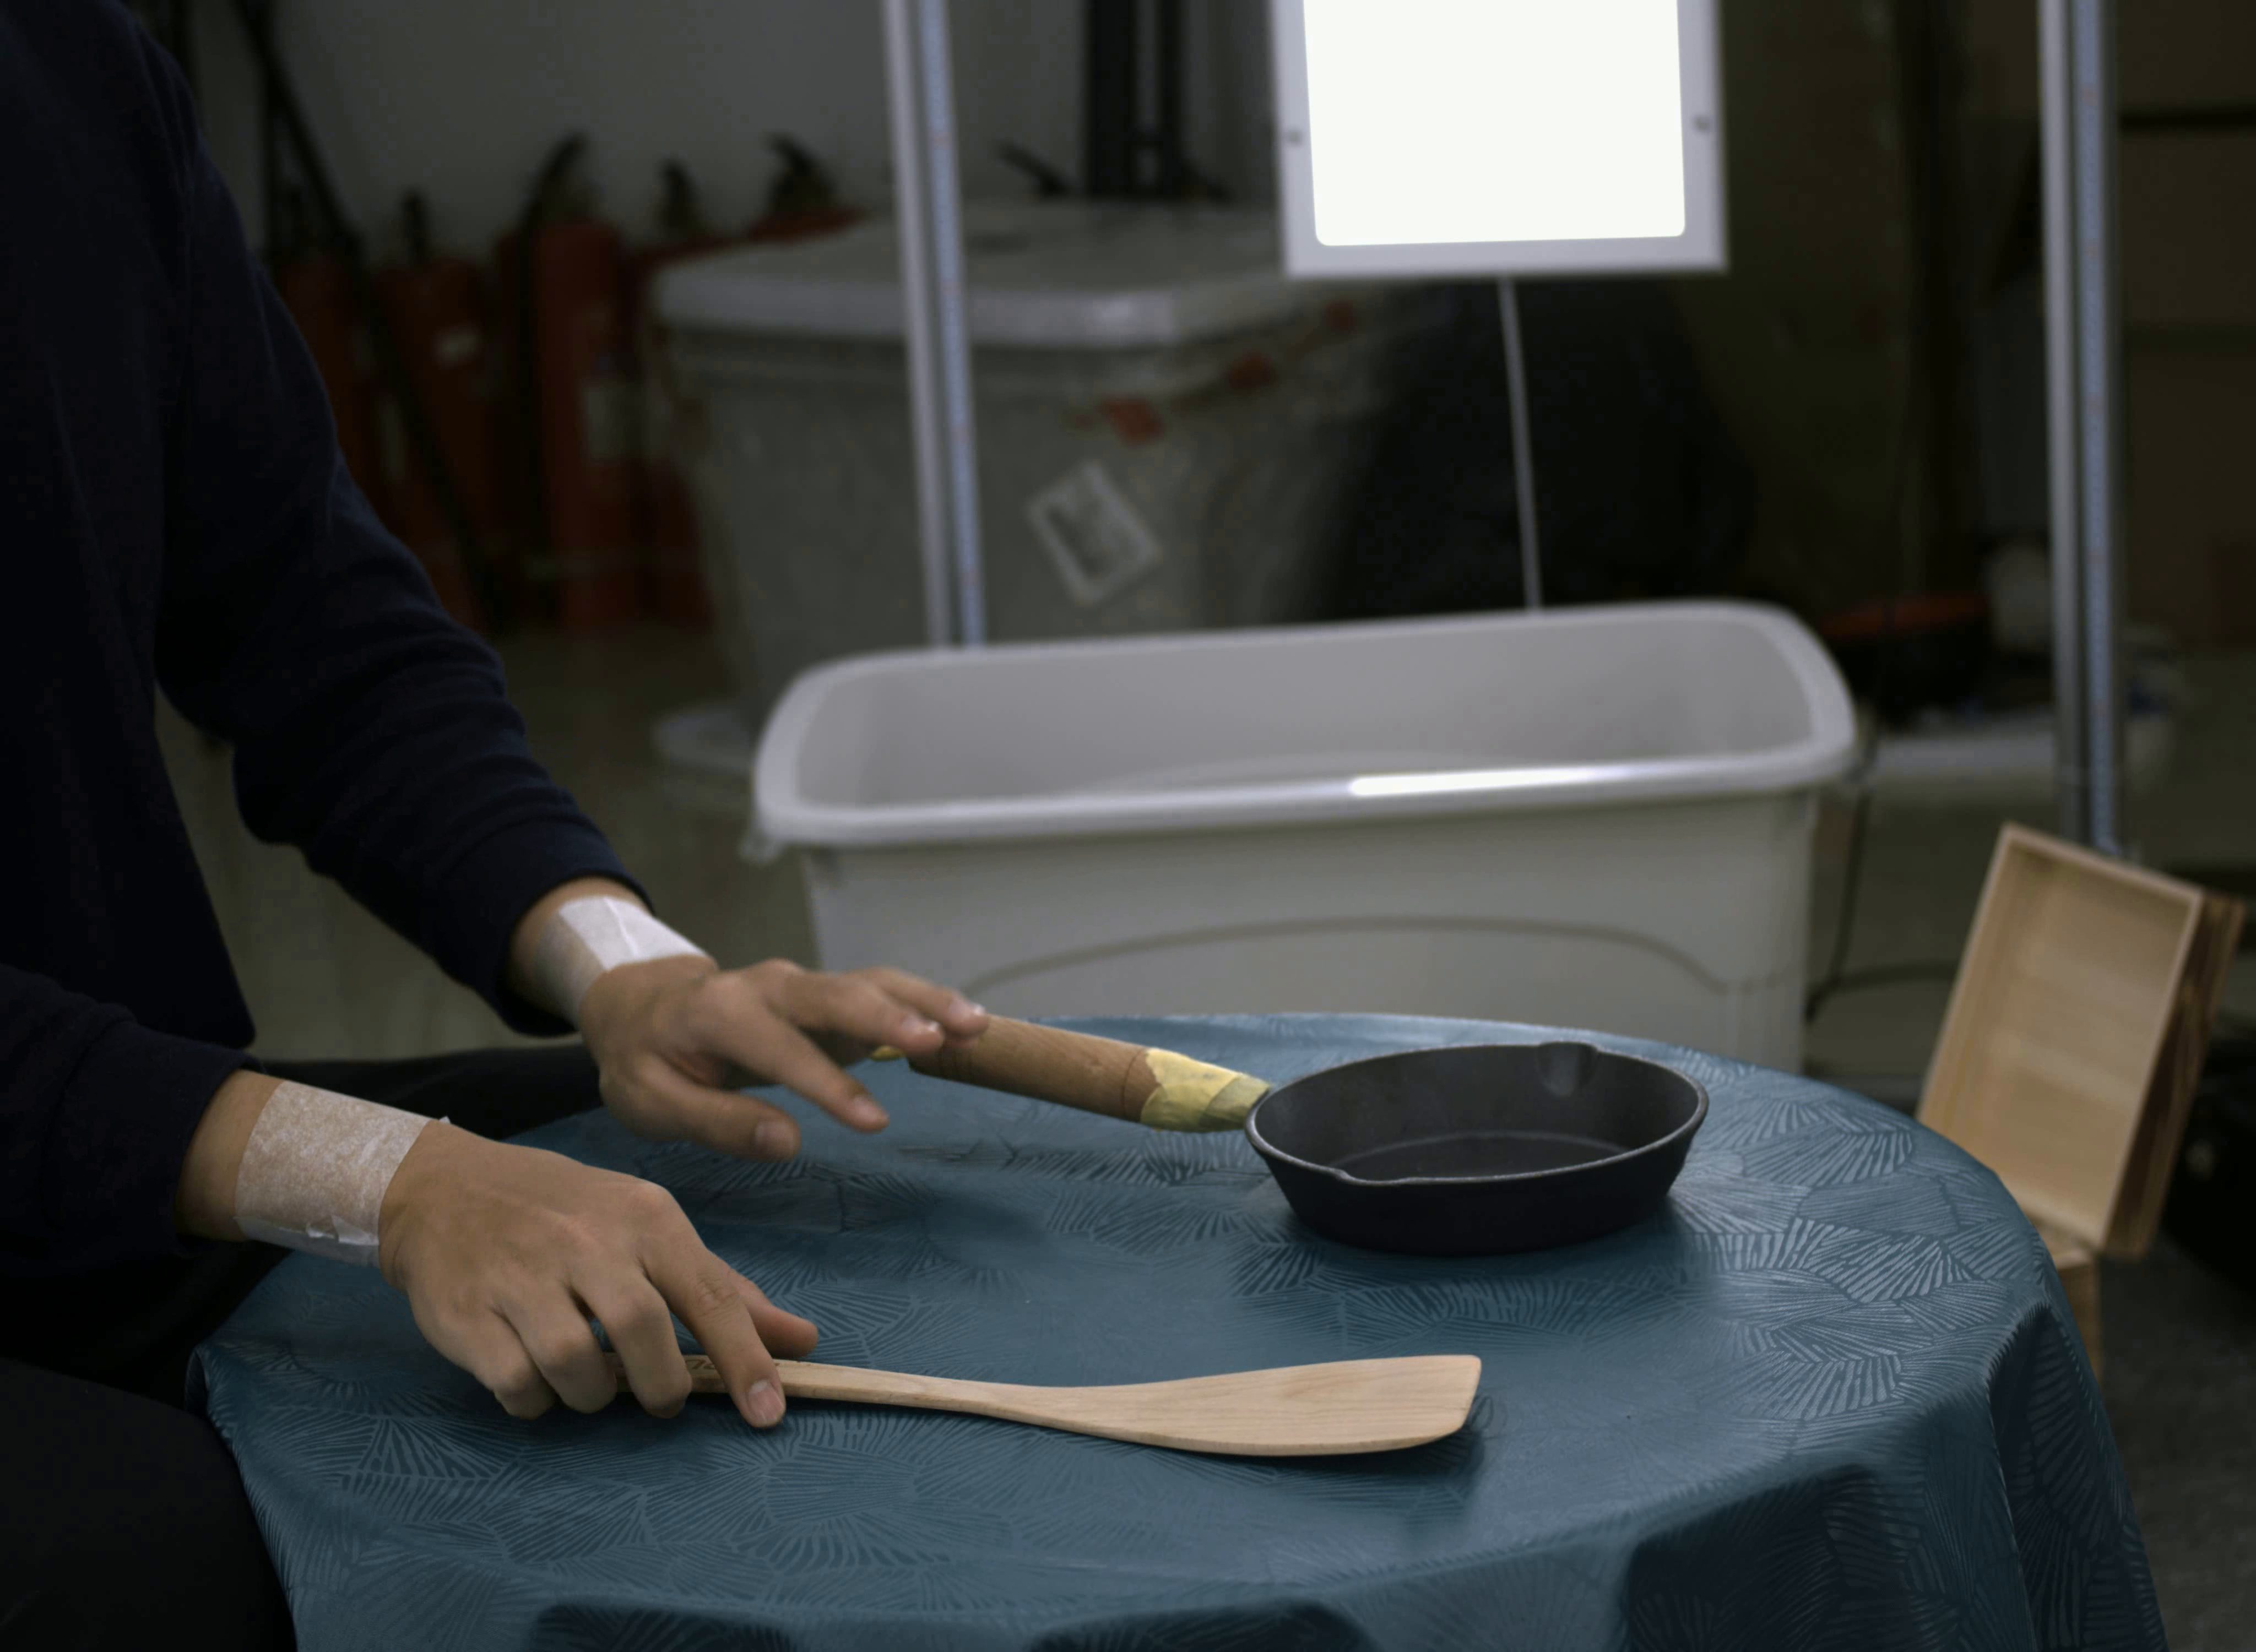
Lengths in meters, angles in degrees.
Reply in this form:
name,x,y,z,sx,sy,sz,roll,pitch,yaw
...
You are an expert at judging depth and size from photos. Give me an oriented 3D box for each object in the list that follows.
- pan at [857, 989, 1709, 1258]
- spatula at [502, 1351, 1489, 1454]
name,x,y,z,sx,sy,sz,roll,pitch,yaw
pan,0.046,0.096,1.898,0.330,0.050,0.165,6,17,33
spatula,-0.043,0.171,1.695,0.332,0.016,0.078,1,14,22
